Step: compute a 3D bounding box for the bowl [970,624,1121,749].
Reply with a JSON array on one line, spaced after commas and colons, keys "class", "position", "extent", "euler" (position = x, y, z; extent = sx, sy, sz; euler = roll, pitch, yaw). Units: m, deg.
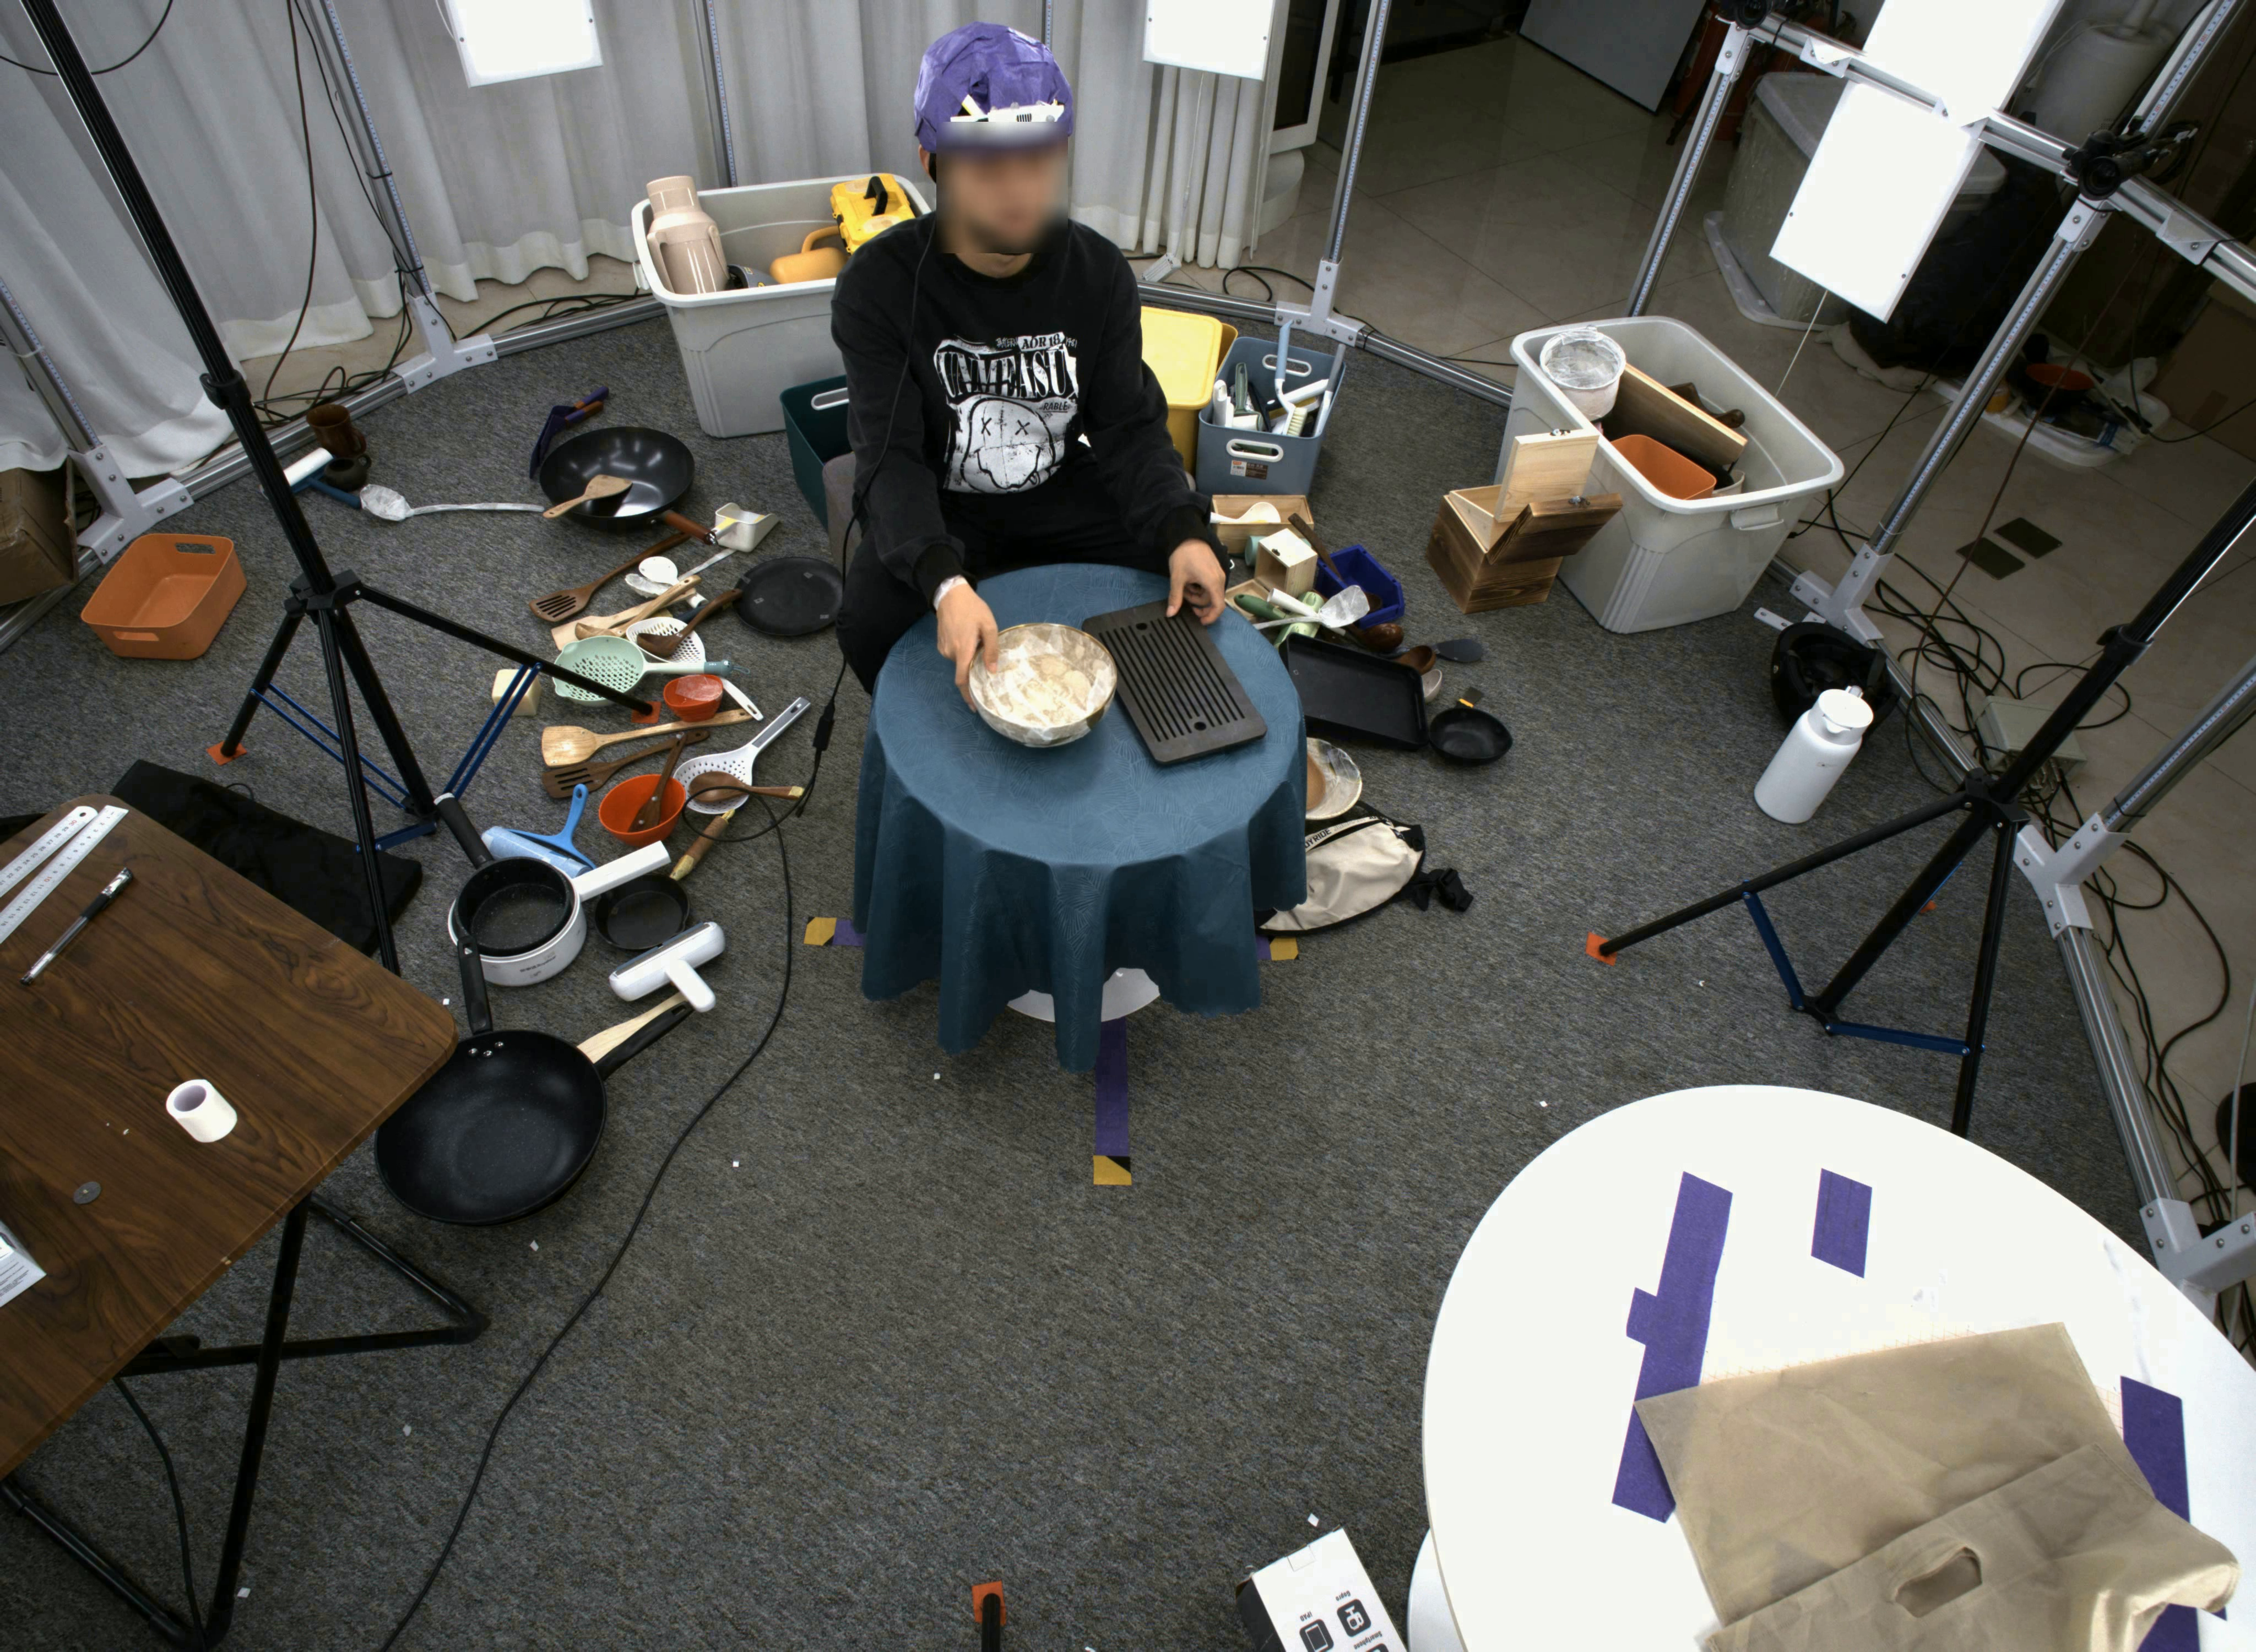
[{"class": "bowl", "position": [-0.113, -0.179, 1.773], "extent": [0.214, 0.092, 0.220], "euler": [1, 49, -2]}]

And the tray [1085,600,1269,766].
[{"class": "tray", "position": [0.066, -0.212, 1.859], "extent": [0.170, 0.018, 0.313], "euler": [-16, 51, -15]}]
